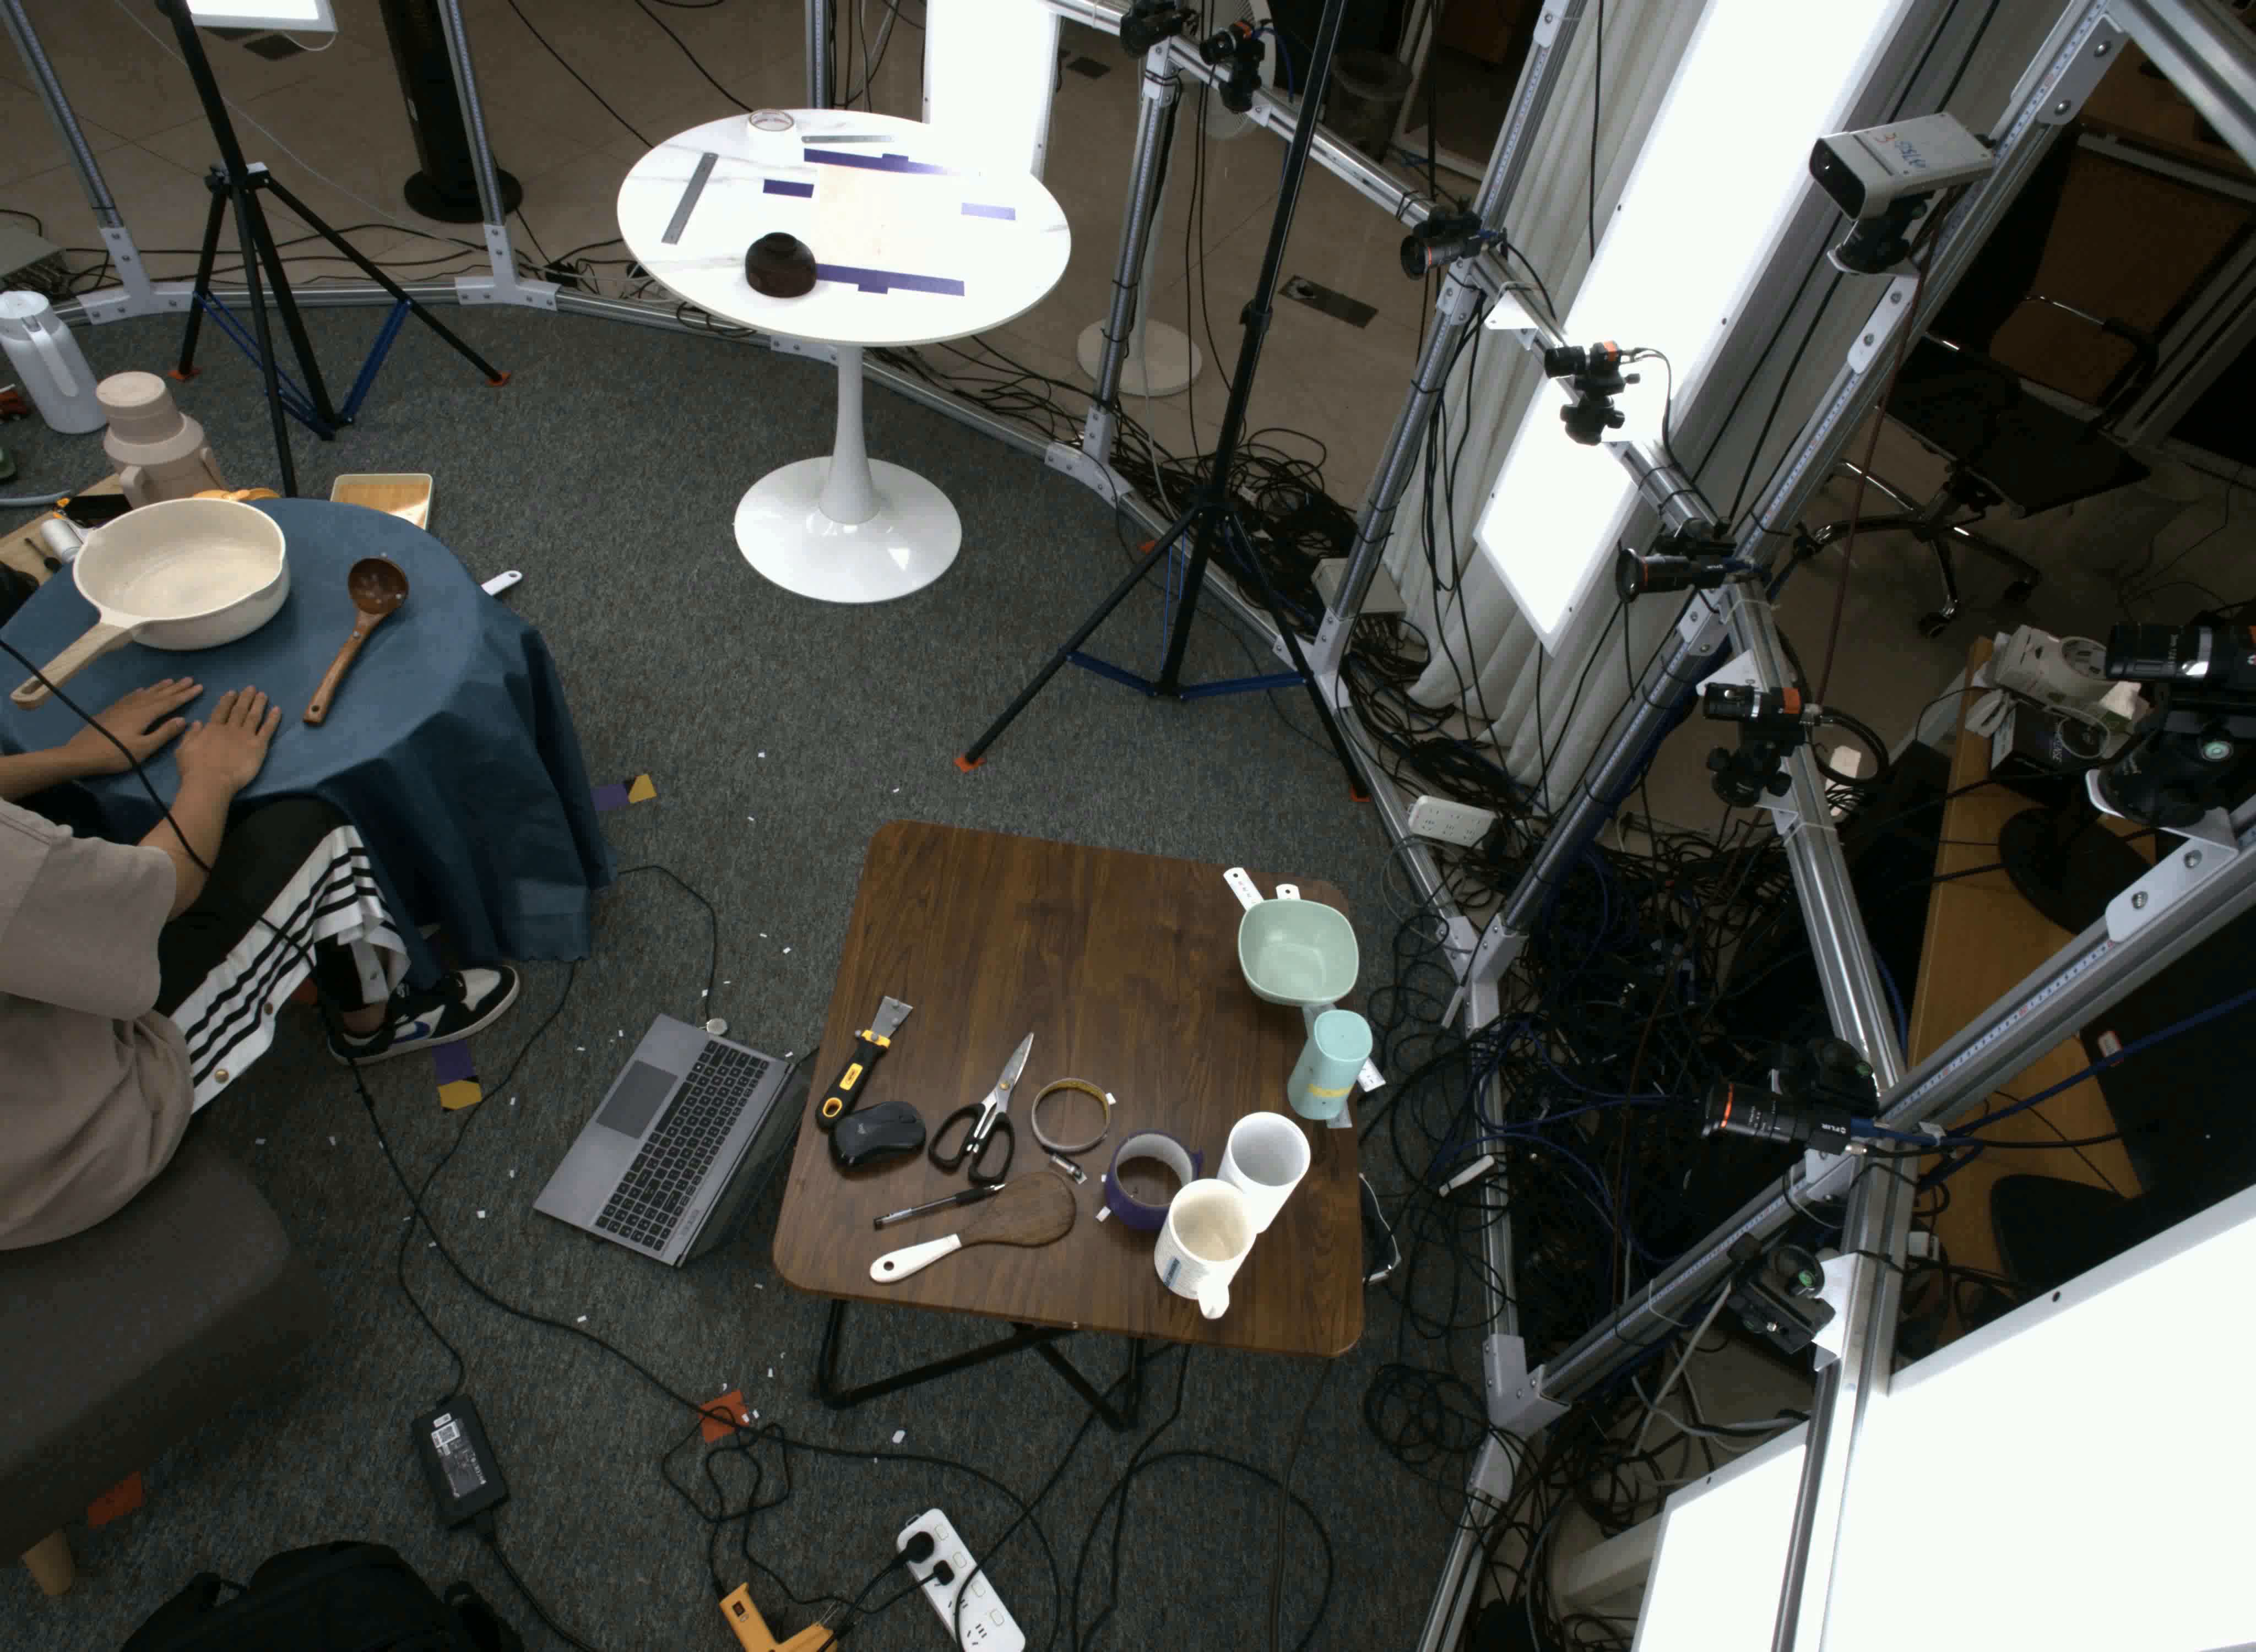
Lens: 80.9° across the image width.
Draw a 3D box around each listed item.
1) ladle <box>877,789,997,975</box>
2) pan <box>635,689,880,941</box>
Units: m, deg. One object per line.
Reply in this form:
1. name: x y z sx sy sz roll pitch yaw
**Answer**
1. ladle: -0.249 0.065 1.677 0.081 0.078 0.271 23 52 3
2. pan: -0.490 -0.001 1.657 0.260 0.104 0.432 26 53 5
